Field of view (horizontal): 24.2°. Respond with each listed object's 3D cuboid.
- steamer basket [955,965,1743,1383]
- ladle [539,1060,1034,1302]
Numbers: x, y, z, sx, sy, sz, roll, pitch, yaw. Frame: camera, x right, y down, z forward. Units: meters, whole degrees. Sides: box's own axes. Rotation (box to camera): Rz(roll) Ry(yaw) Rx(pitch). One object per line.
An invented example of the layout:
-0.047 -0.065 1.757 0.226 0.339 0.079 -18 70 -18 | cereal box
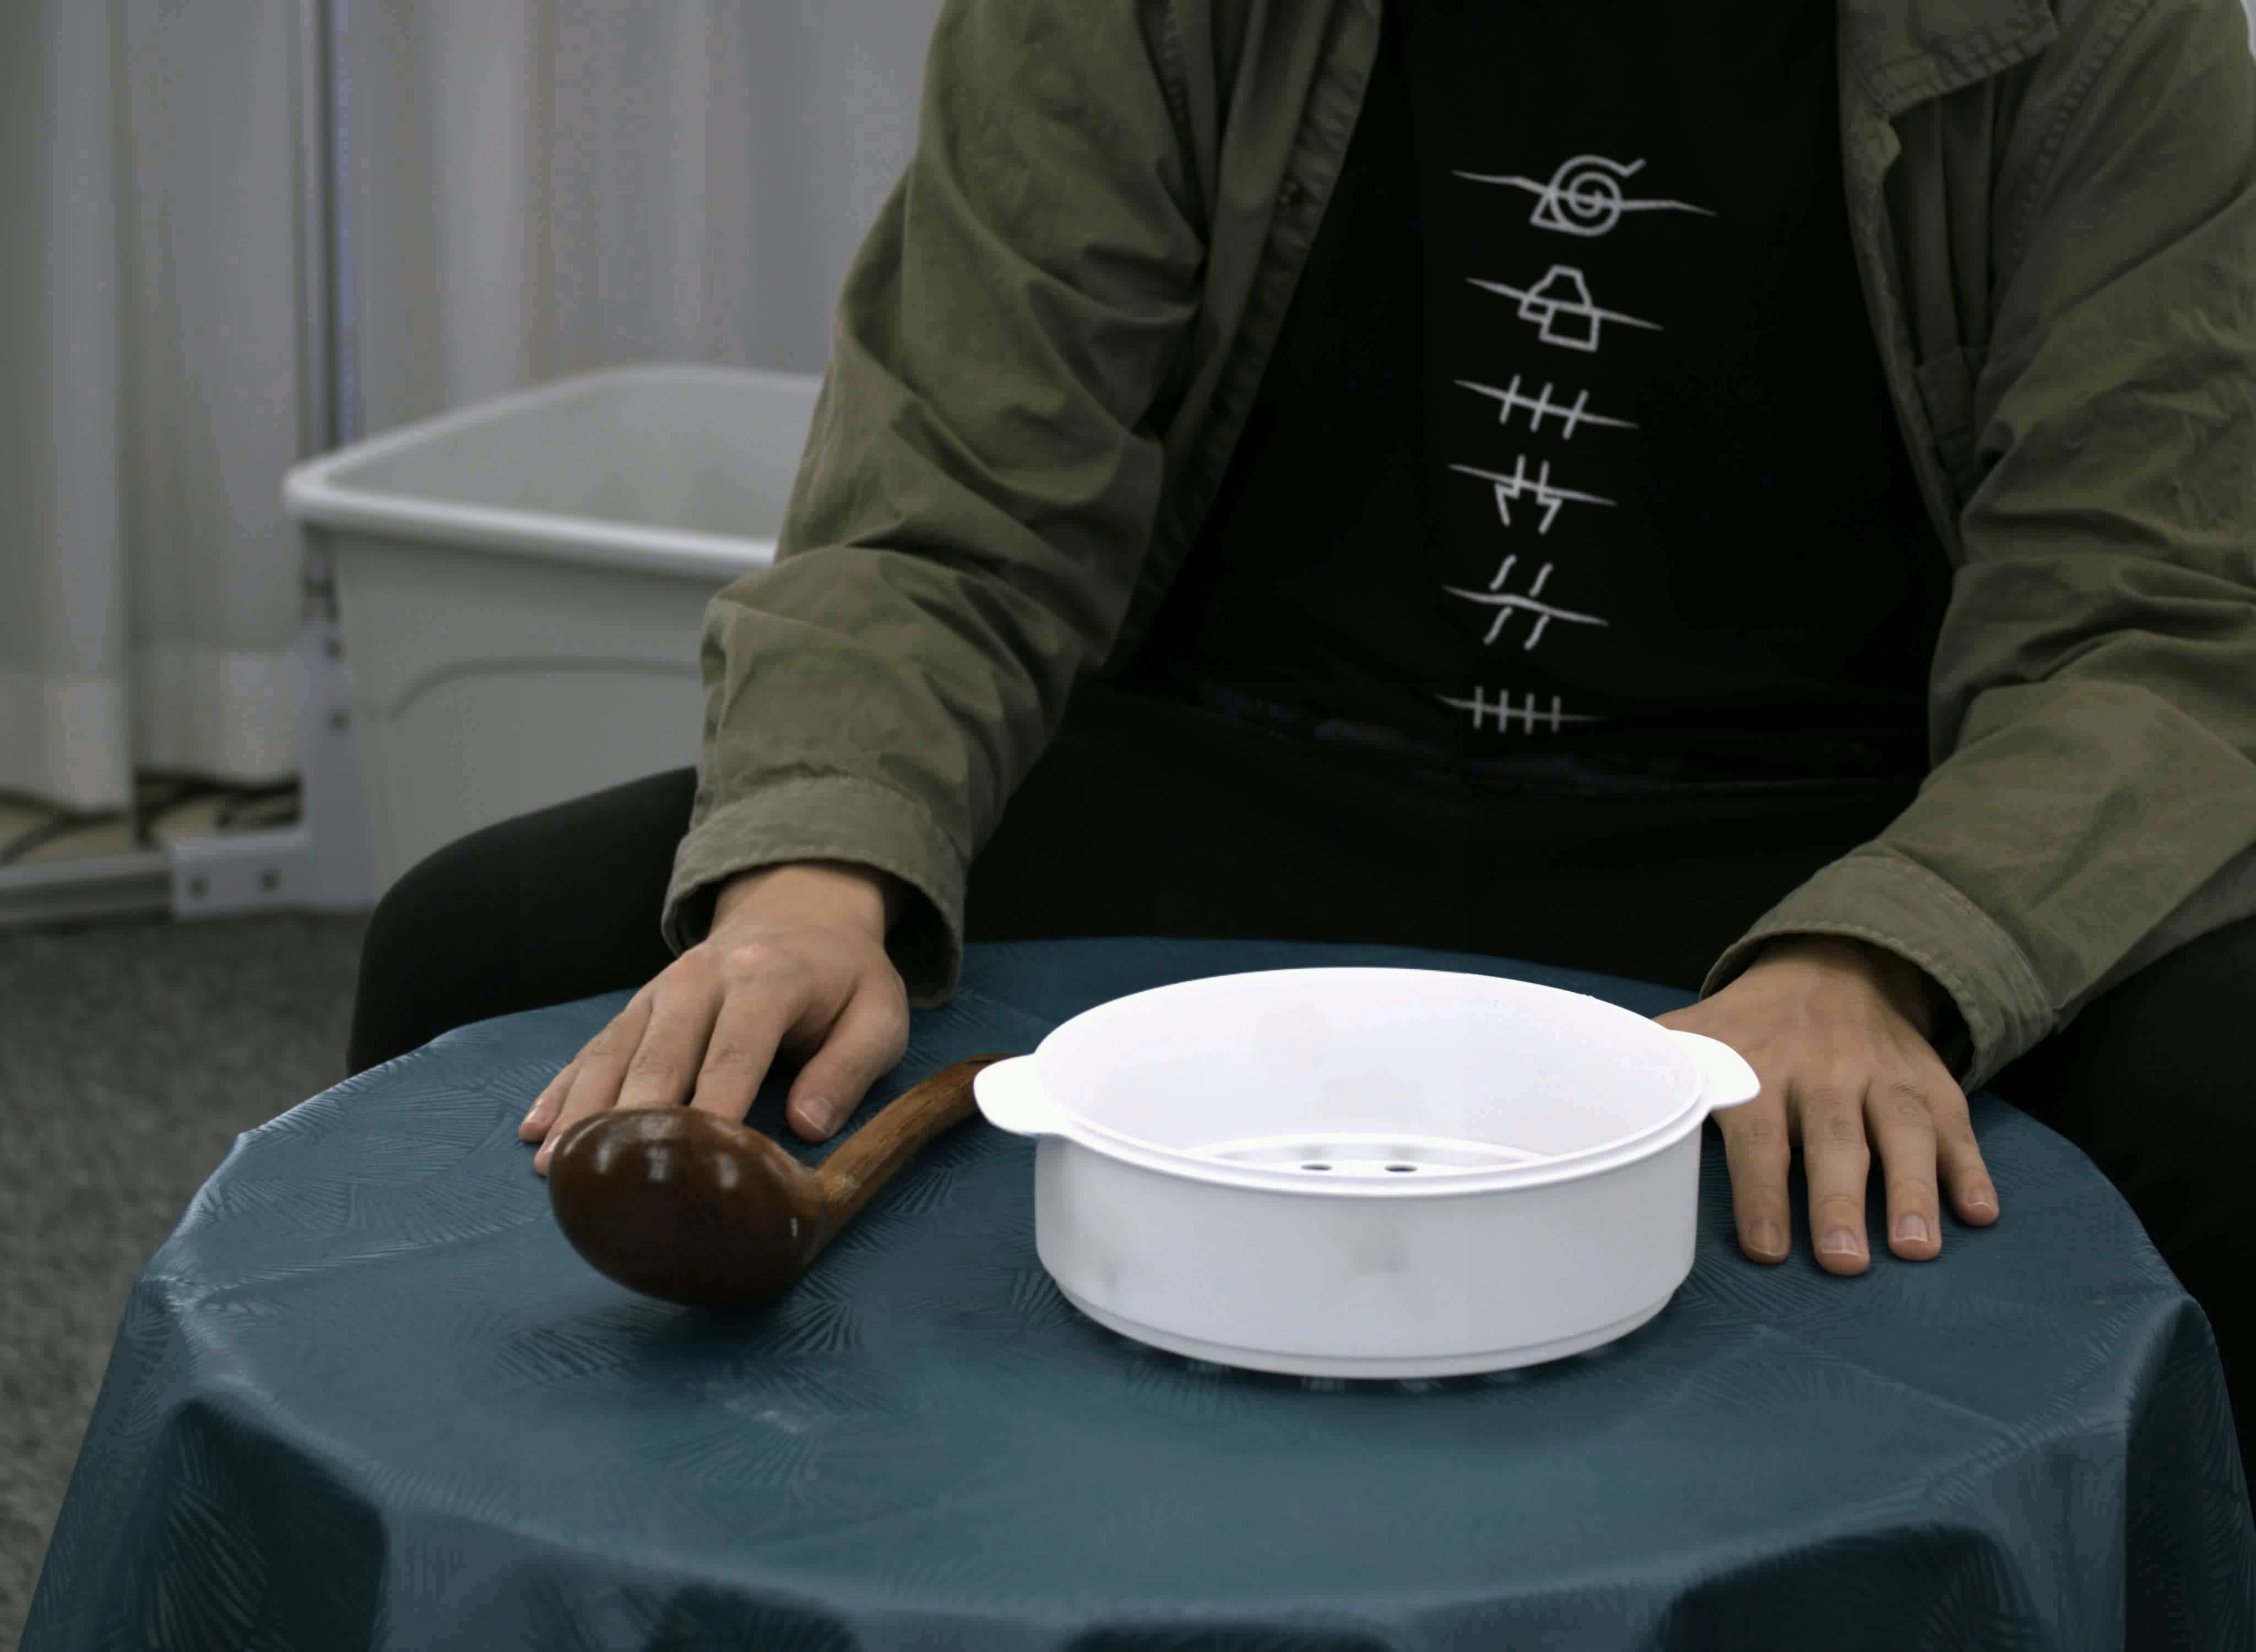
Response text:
0.063 0.102 1.544 0.230 0.070 0.200 0 16 -9 | steamer basket
-0.090 0.082 1.595 0.081 0.077 0.274 2 14 21 | ladle
